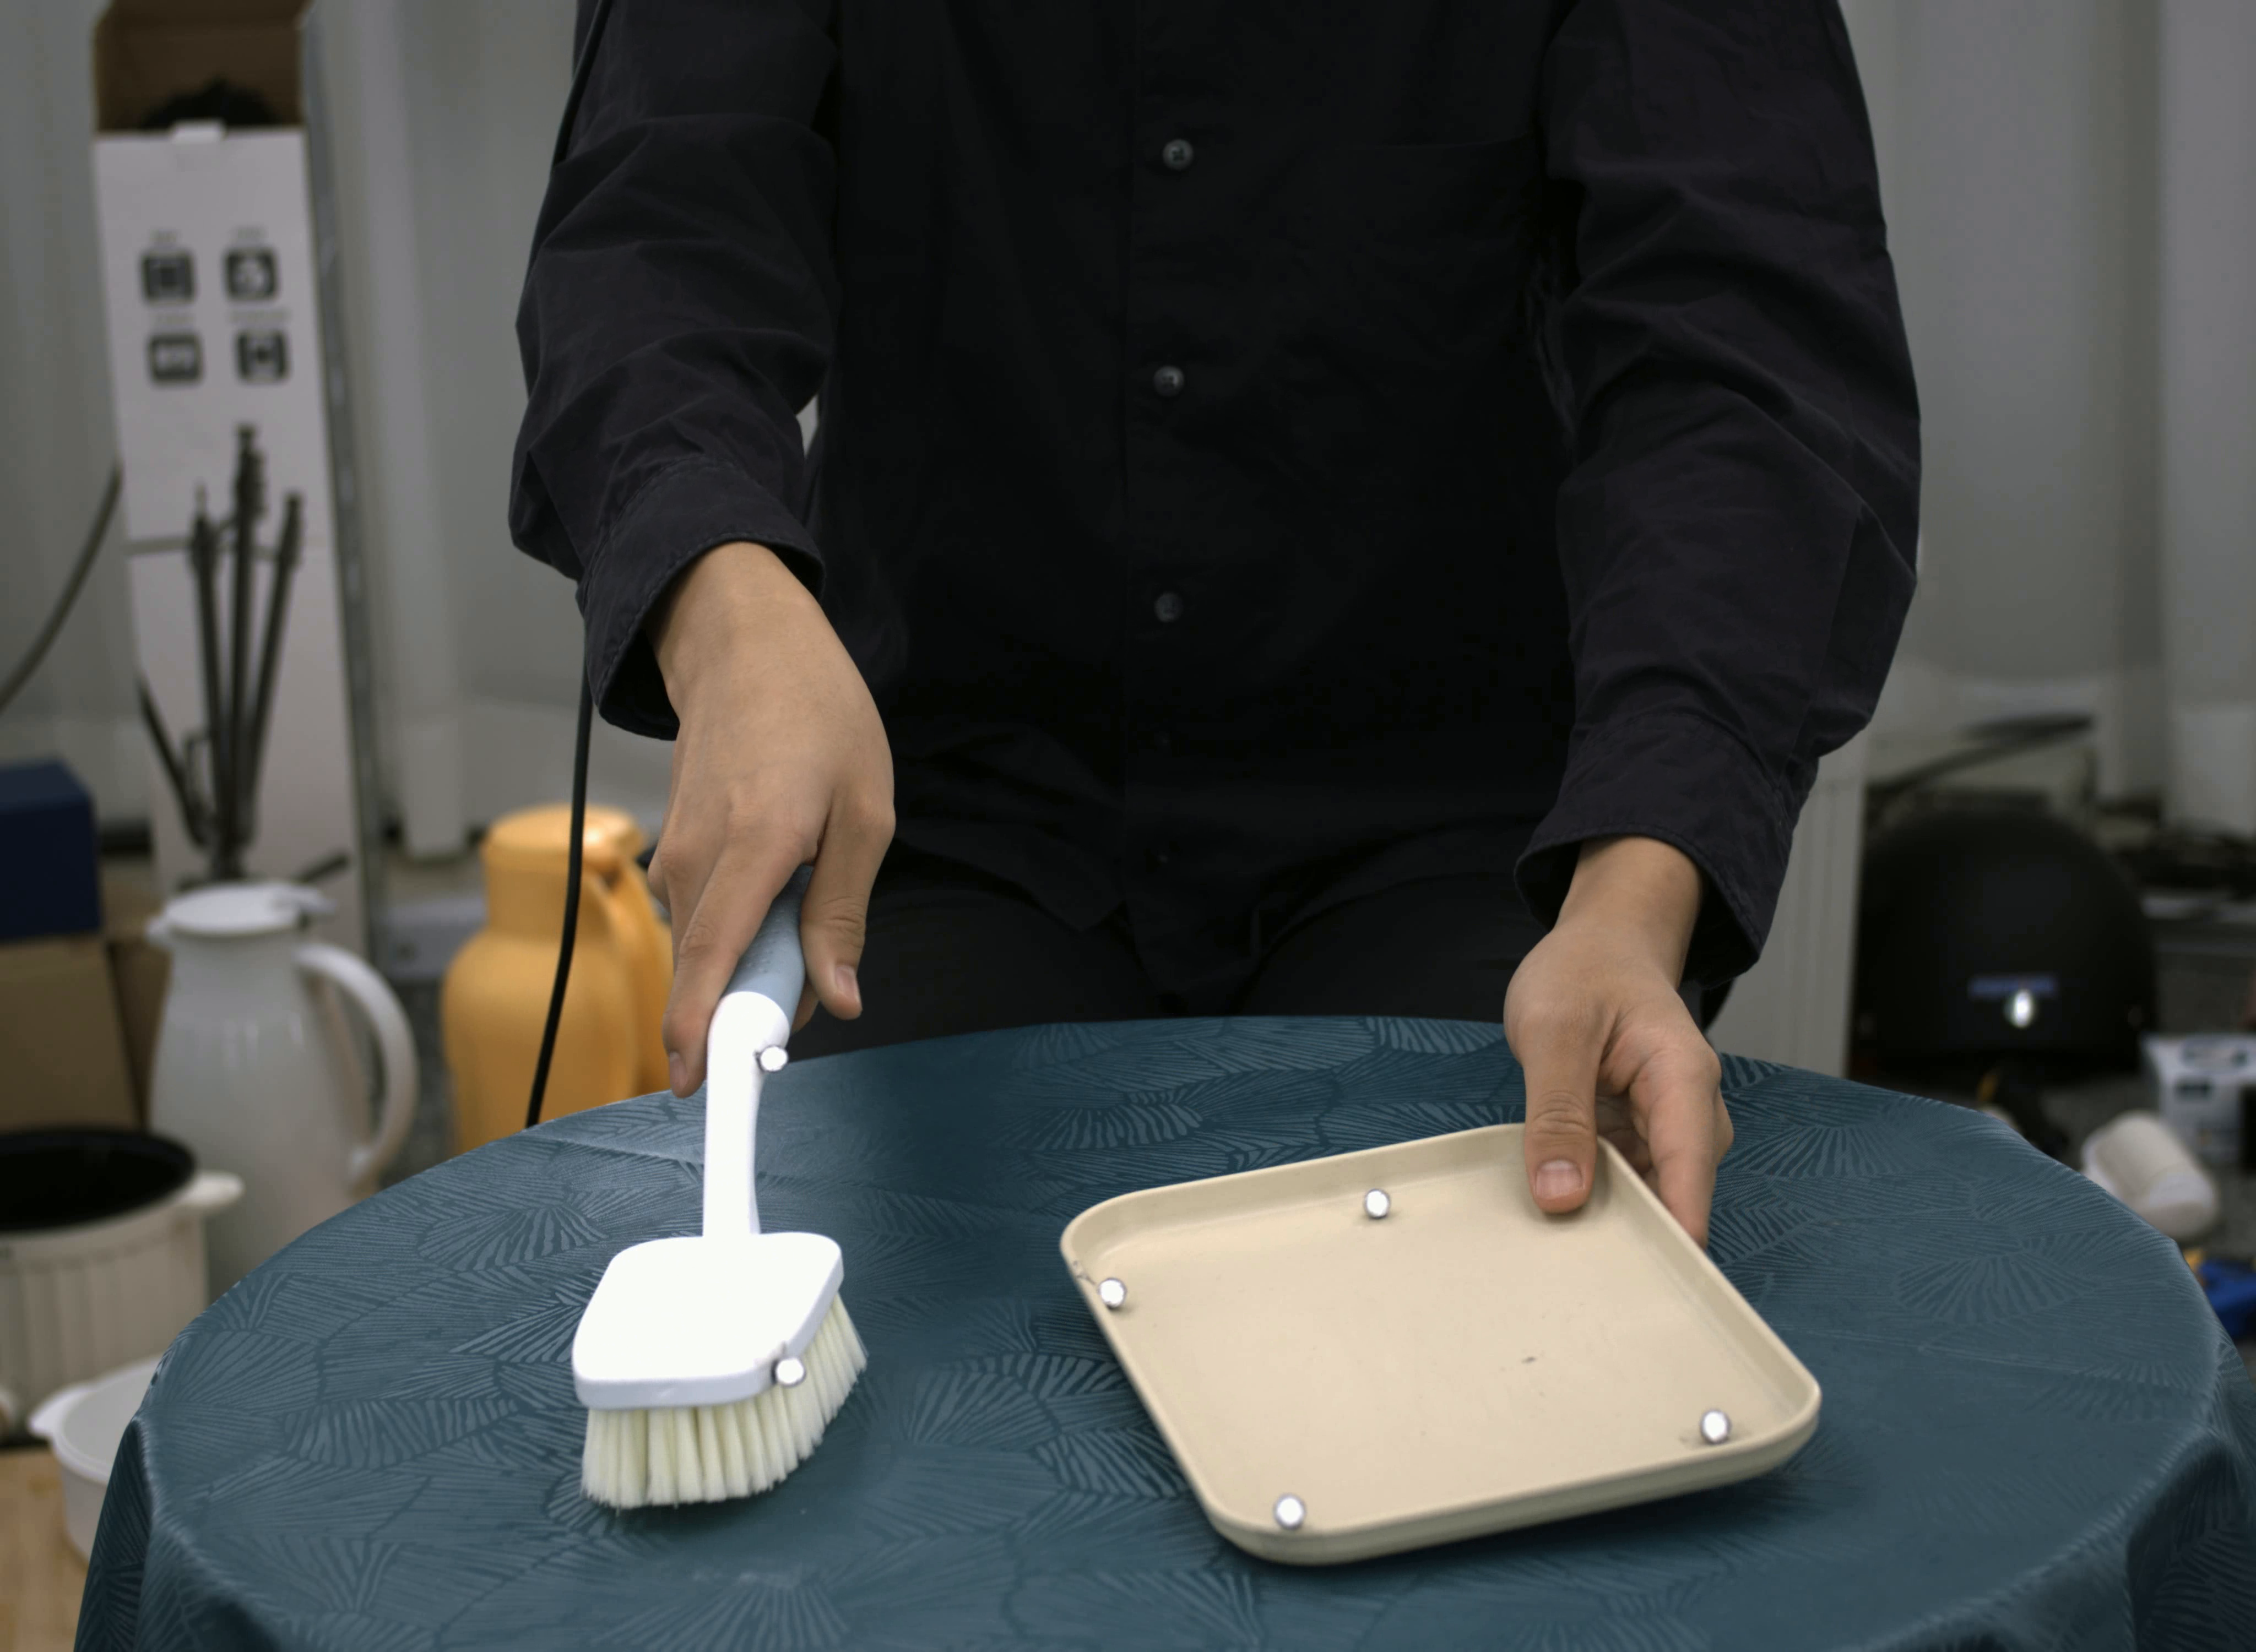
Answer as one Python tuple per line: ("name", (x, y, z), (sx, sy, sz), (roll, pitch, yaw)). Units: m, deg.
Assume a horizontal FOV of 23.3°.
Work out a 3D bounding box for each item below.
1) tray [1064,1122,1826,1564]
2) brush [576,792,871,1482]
("tray", (0.084, 0.143, 1.531), (0.170, 0.017, 0.242), (-10, 19, -10))
("brush", (-0.103, 0.102, 1.614), (0.082, 0.084, 0.329), (28, 27, -9))
